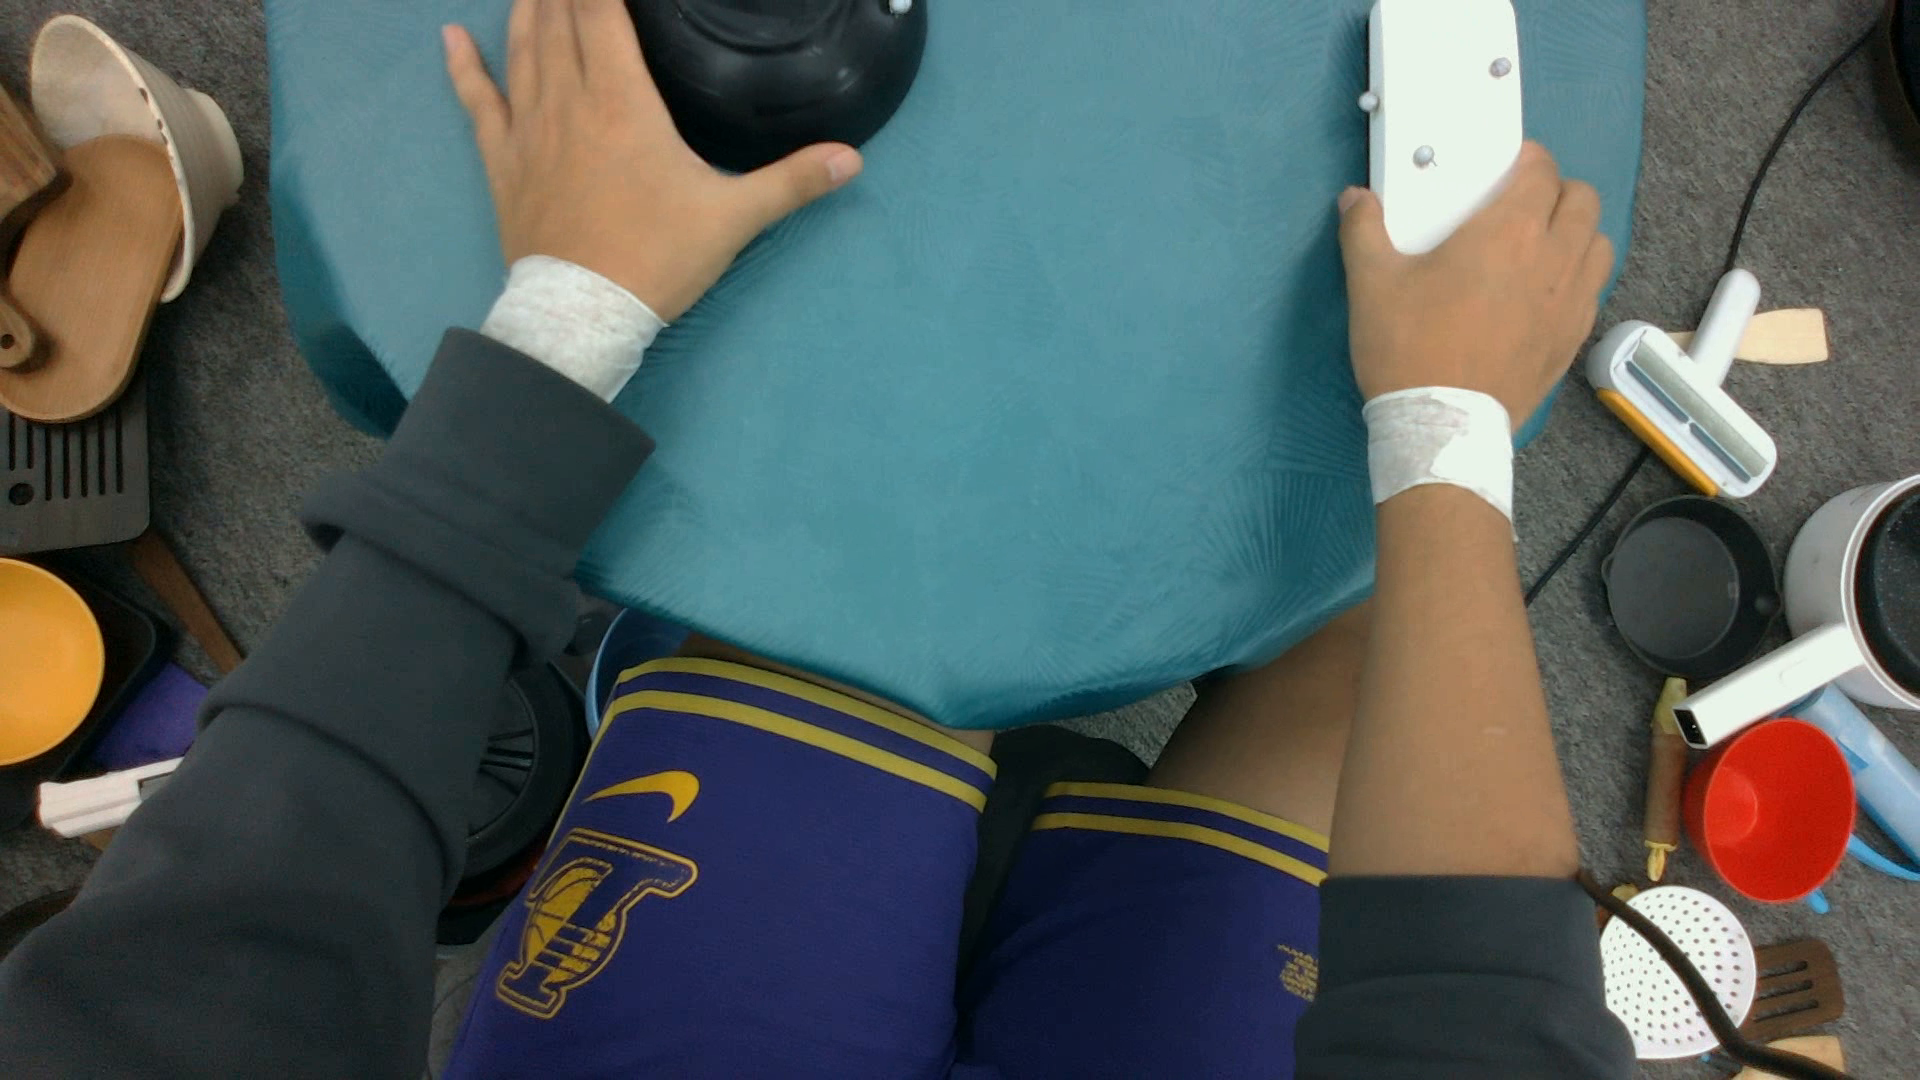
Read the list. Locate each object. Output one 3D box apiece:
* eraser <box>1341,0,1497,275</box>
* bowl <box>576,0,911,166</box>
[{"bbox_3d":[0.198,-0.181,0.600,0.063,0.034,0.131,3,82,-8],"label":"eraser"},{"bbox_3d":[-0.086,-0.226,0.554,0.140,0.049,0.140,1,85,-10],"label":"bowl"}]
